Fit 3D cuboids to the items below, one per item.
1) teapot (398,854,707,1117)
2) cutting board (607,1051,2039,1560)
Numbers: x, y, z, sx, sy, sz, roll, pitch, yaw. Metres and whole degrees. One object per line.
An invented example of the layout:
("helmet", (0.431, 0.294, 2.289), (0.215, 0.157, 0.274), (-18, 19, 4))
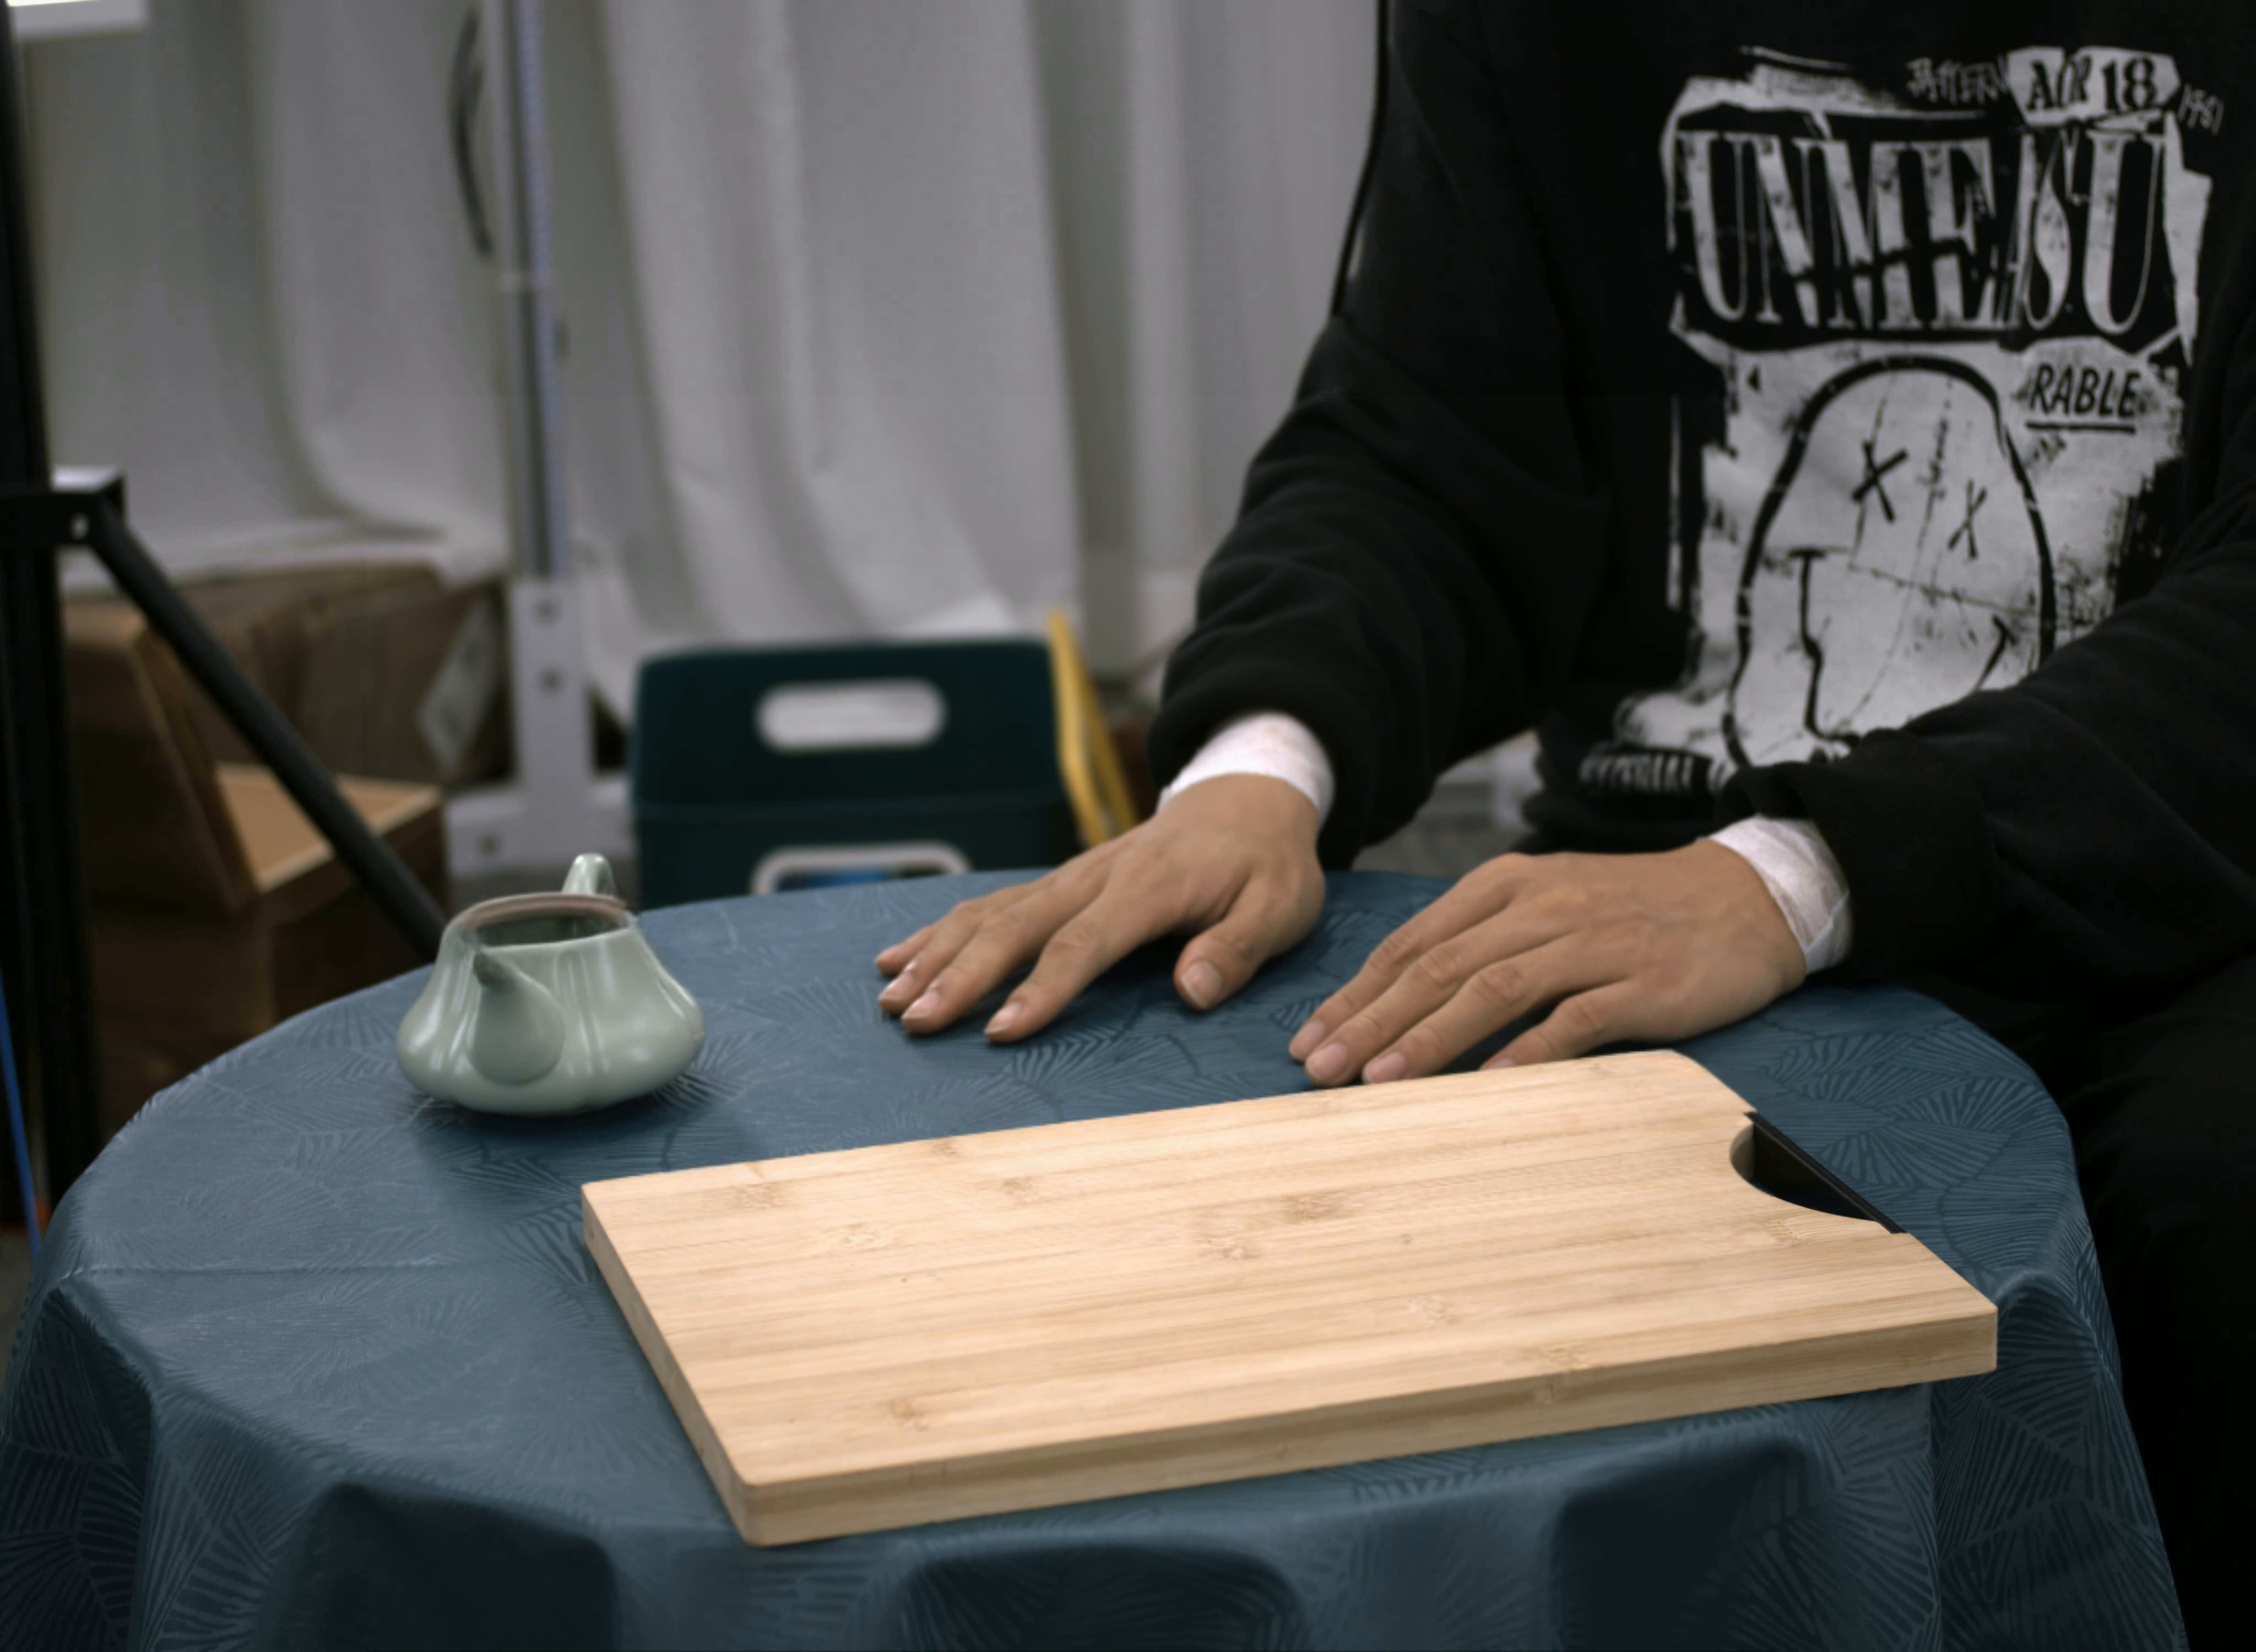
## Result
("teapot", (-0.180, 0.053, 1.669), (0.096, 0.061, 0.137), (-2, 16, 8))
("cutting board", (0.042, 0.124, 1.460), (0.343, 0.023, 0.254), (-7, 16, -14))
